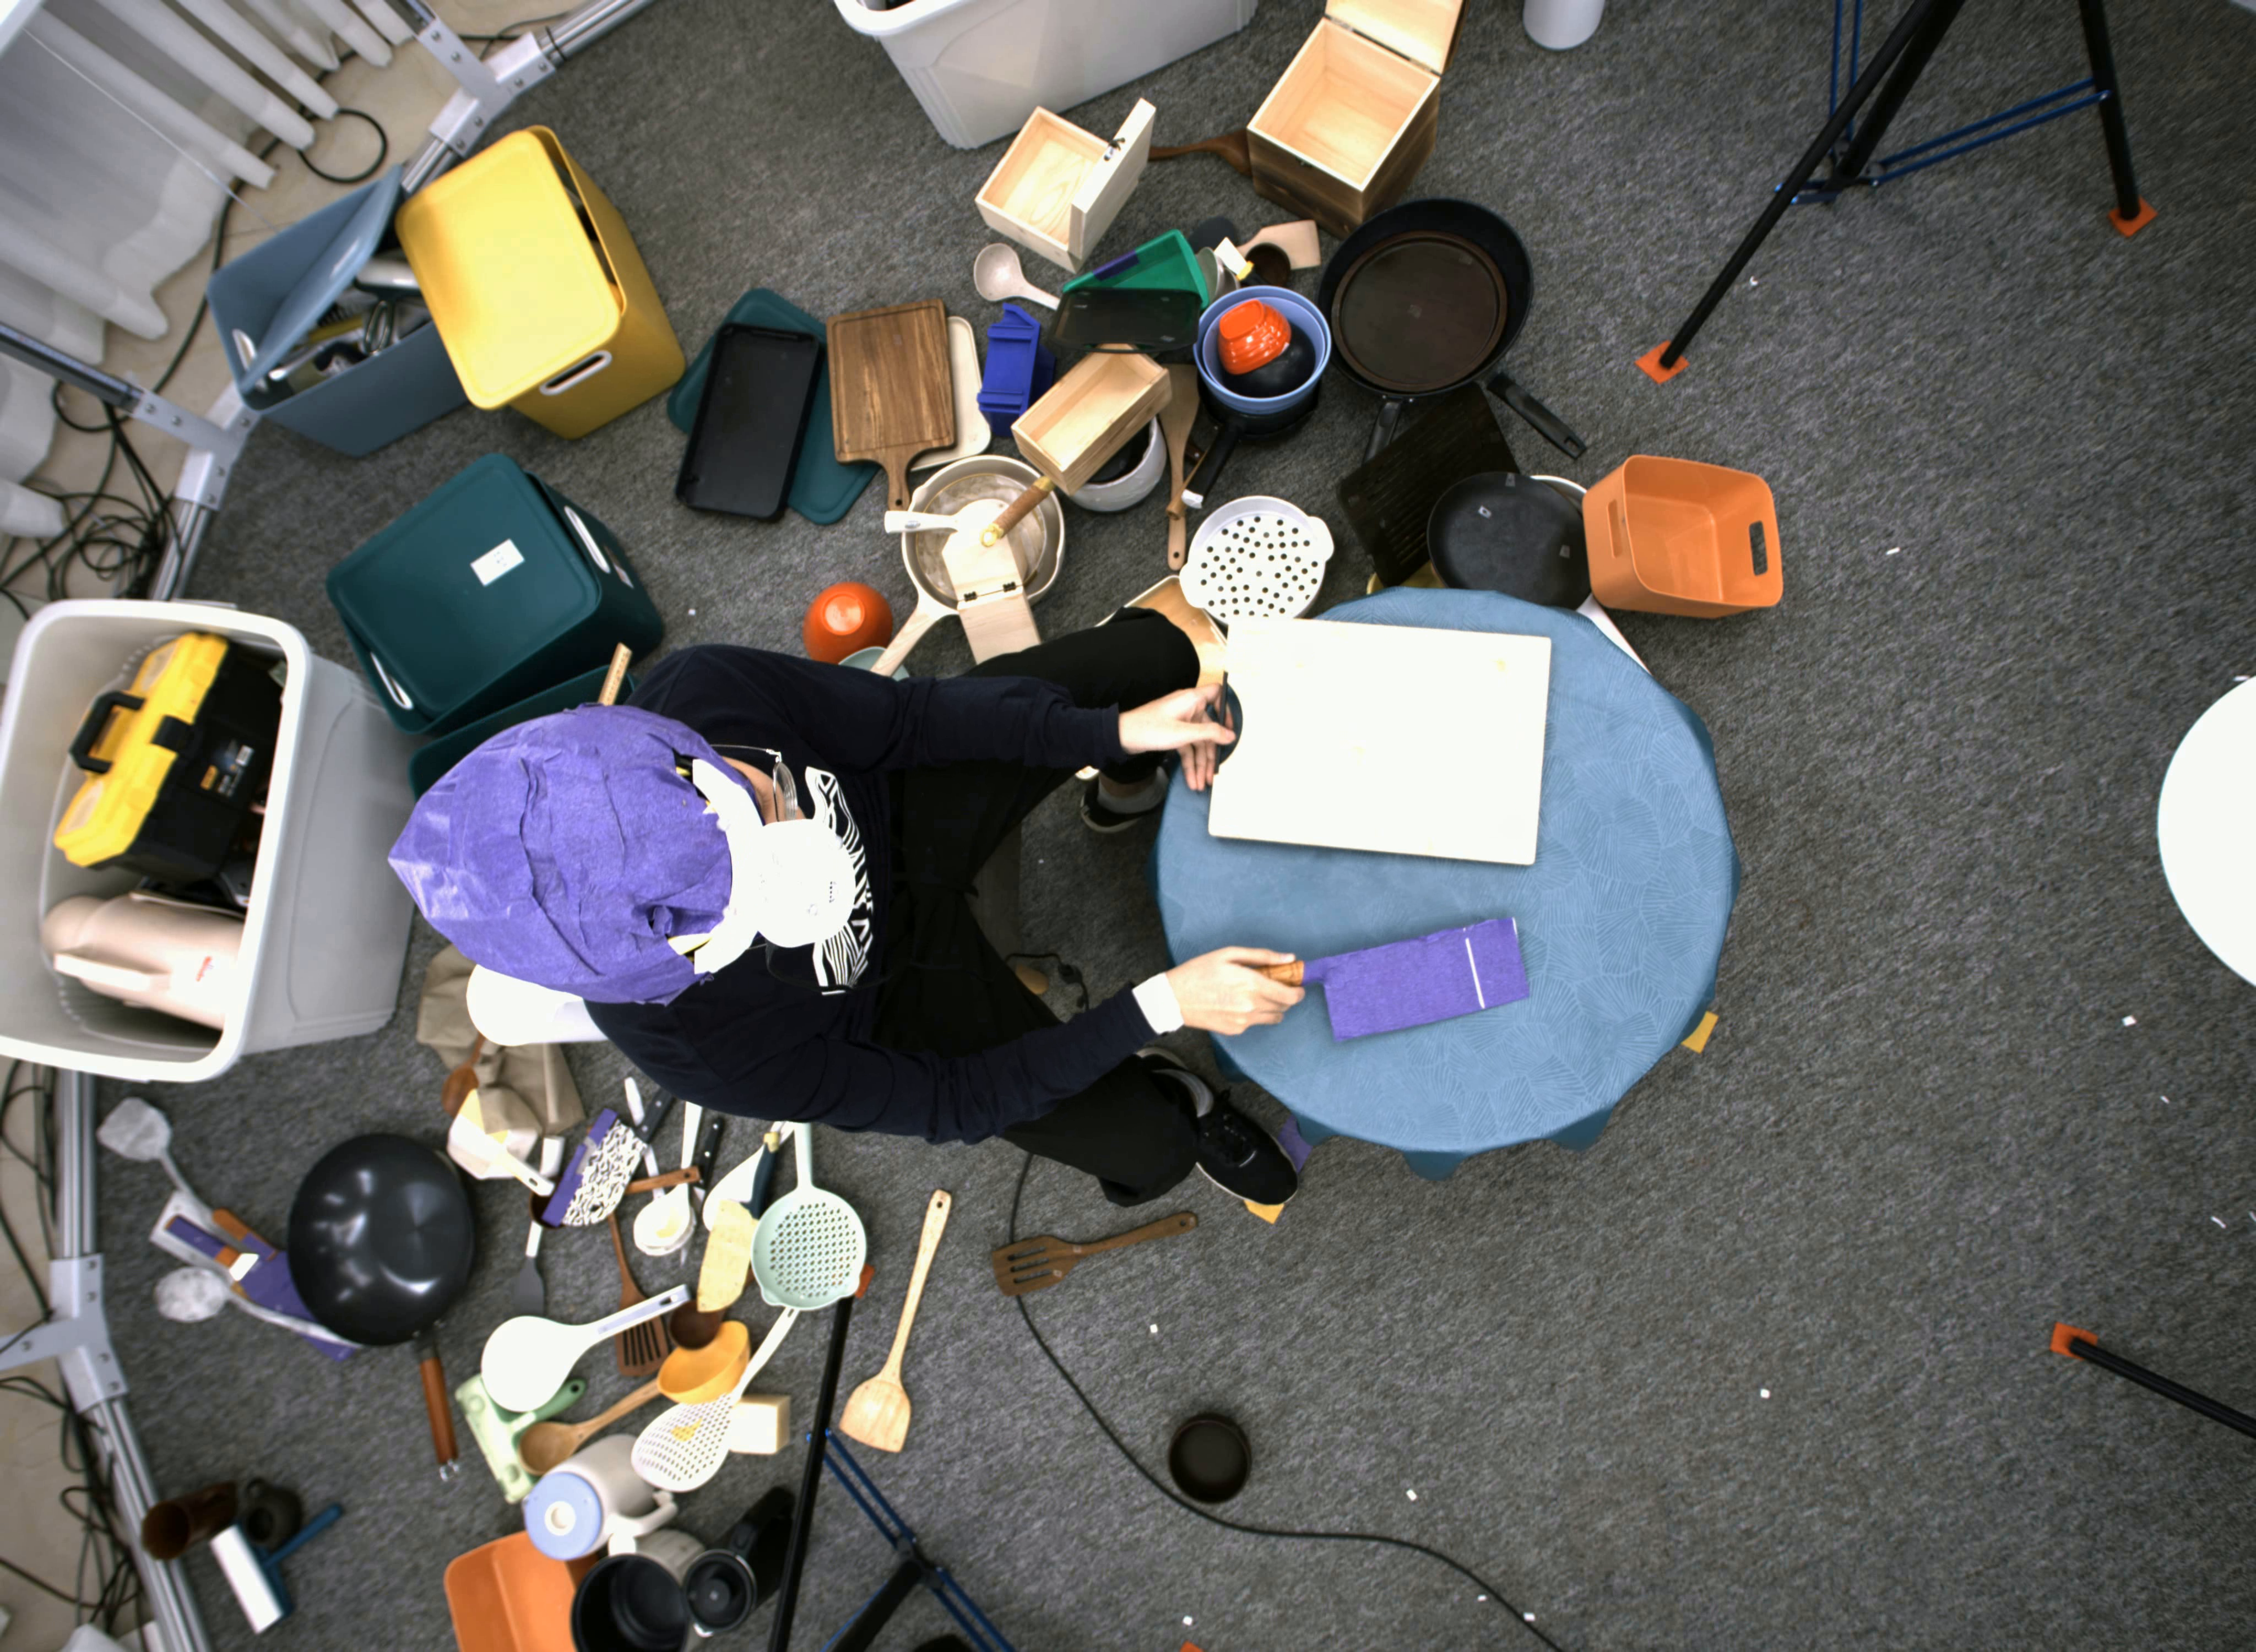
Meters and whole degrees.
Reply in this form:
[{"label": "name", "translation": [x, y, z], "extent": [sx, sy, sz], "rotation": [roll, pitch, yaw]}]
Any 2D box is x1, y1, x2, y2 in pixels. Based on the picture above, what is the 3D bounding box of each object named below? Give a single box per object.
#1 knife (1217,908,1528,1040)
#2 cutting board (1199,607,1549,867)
[{"label": "knife", "translation": [0.253, 0.167, 1.422], "extent": [0.316, 0.032, 0.104], "rotation": [-14, 101, 6]}, {"label": "cutting board", "translation": [0.259, -0.098, 1.455], "extent": [0.349, 0.023, 0.250], "rotation": [5, 88, 8]}]
